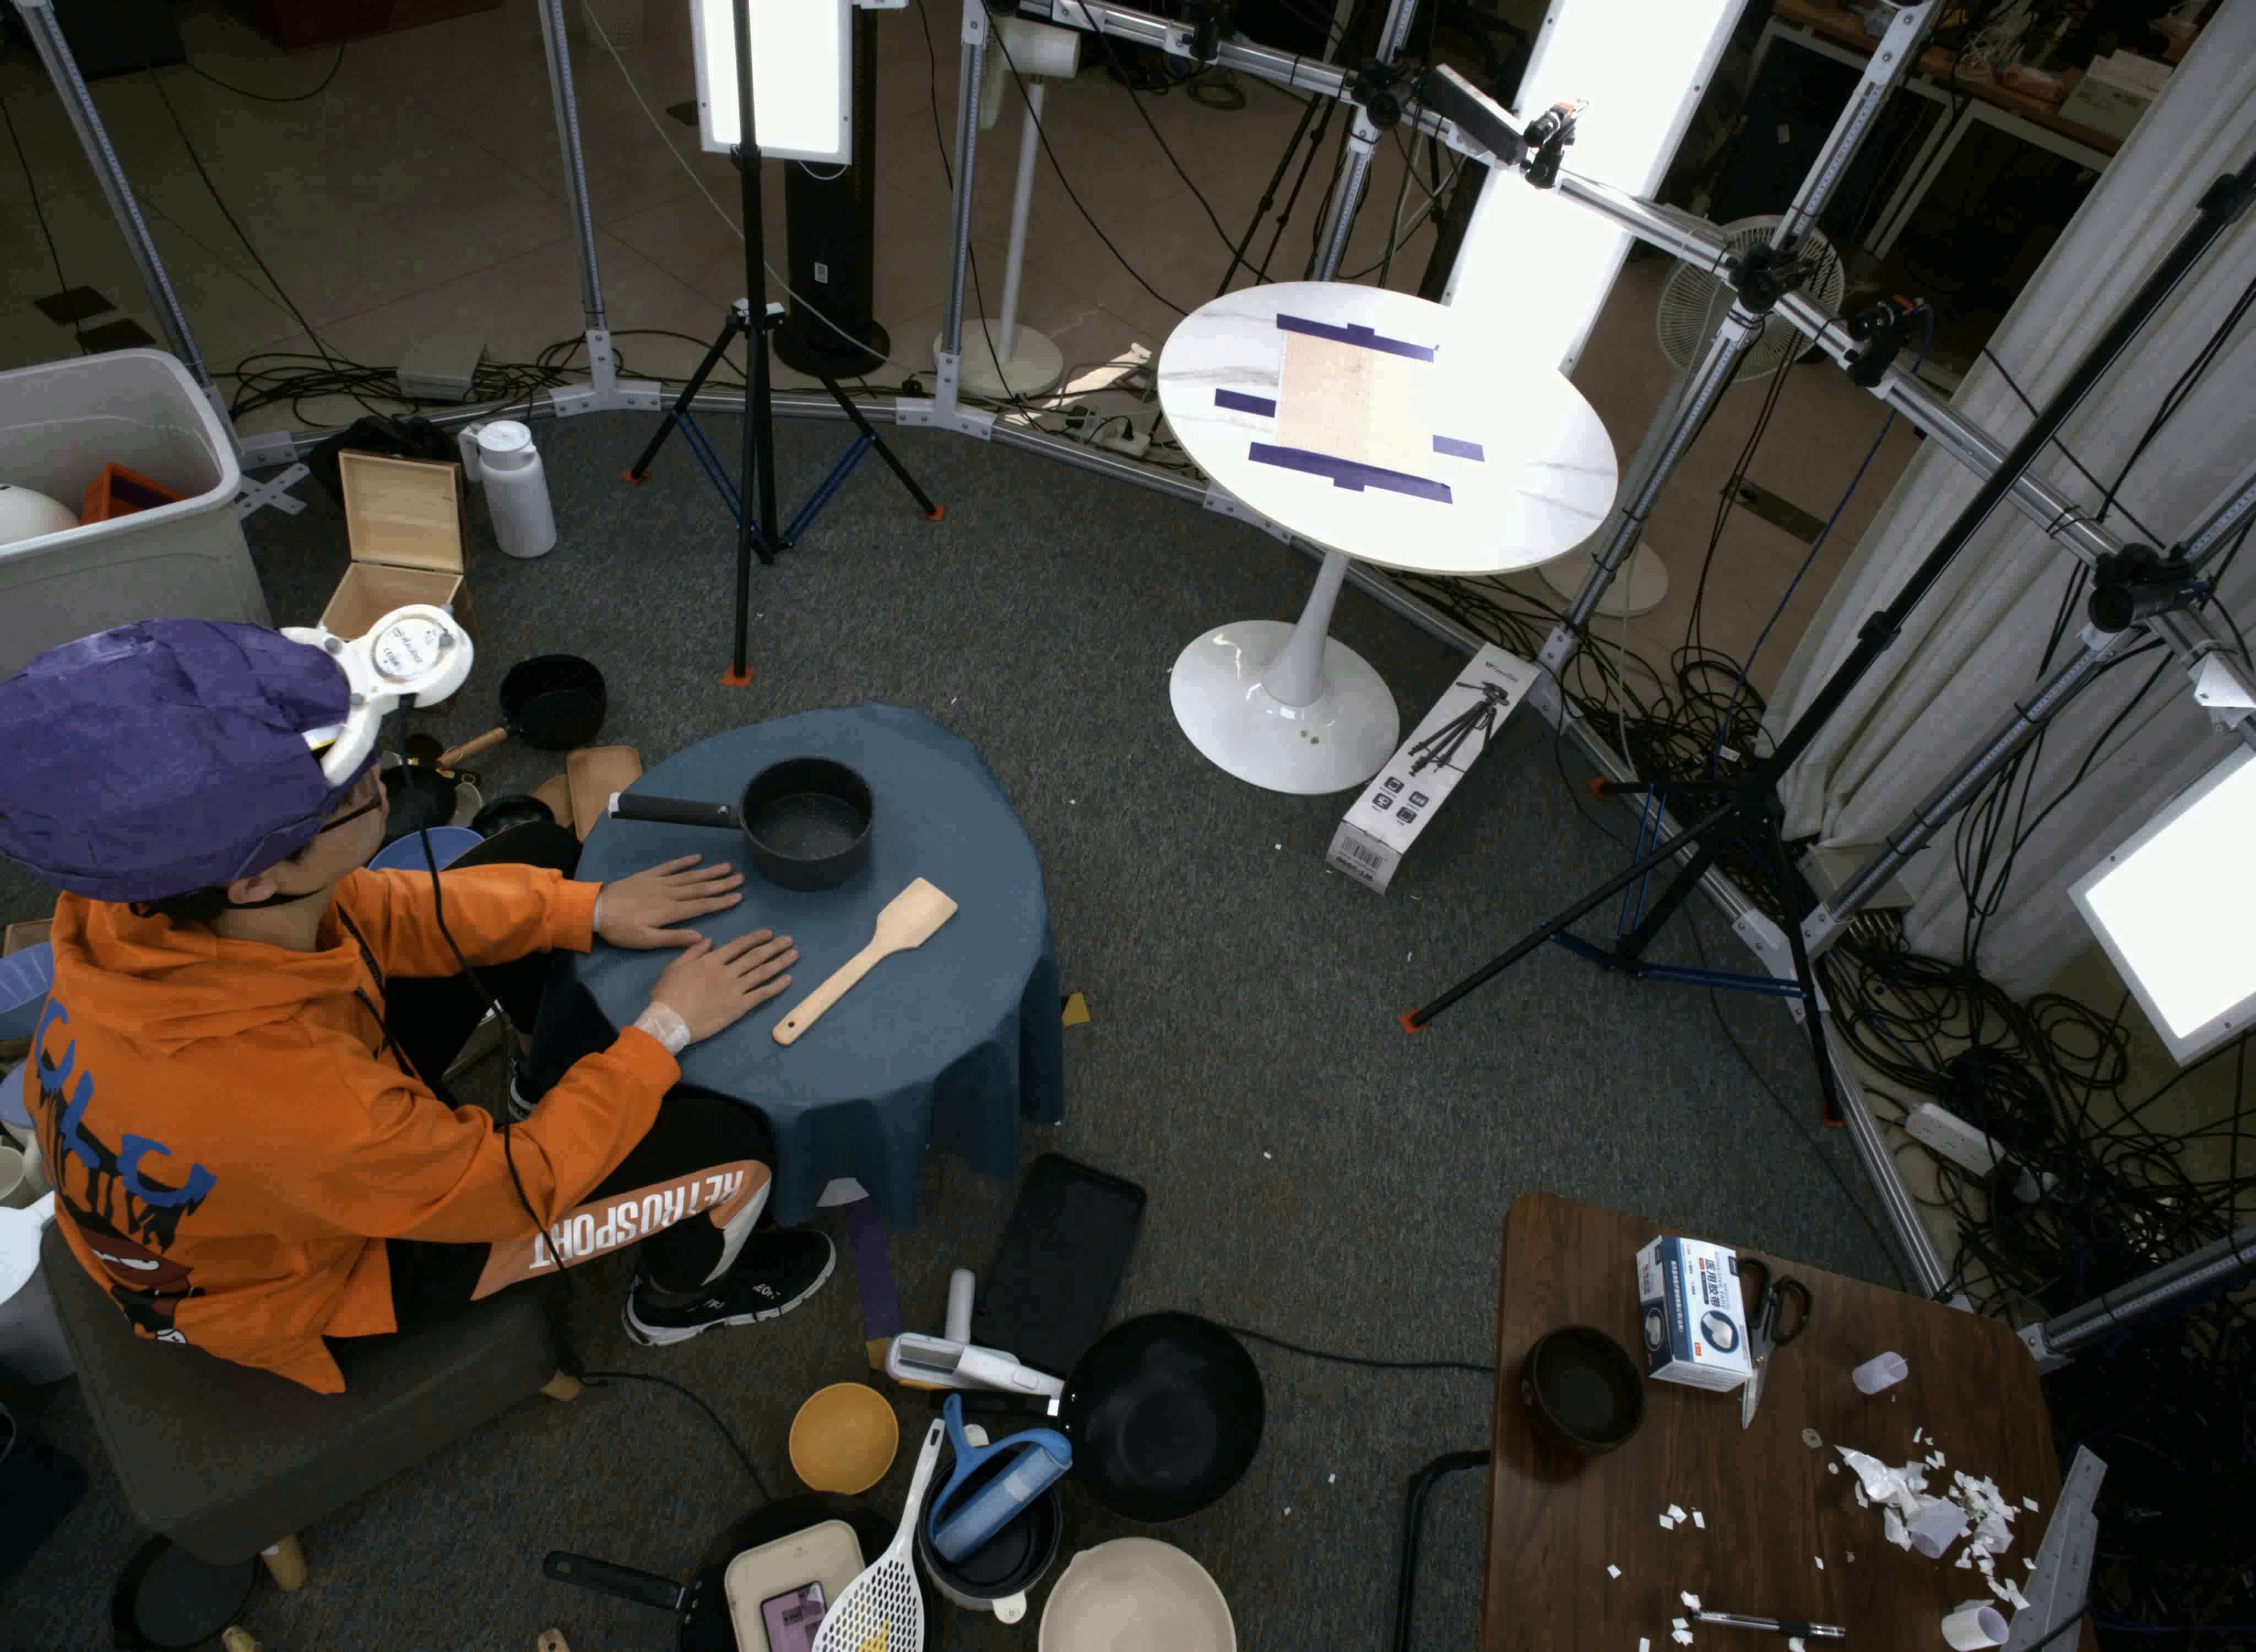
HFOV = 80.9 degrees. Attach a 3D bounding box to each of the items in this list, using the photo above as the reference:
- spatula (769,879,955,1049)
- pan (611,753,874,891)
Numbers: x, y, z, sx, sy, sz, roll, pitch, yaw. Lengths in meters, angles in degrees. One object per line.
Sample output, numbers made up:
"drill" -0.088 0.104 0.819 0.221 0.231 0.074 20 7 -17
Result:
"spatula" -0.330 0.171 1.605 0.071 0.011 0.293 38 54 10
"pan" -0.491 -0.009 1.648 0.329 0.088 0.168 3 52 -15
